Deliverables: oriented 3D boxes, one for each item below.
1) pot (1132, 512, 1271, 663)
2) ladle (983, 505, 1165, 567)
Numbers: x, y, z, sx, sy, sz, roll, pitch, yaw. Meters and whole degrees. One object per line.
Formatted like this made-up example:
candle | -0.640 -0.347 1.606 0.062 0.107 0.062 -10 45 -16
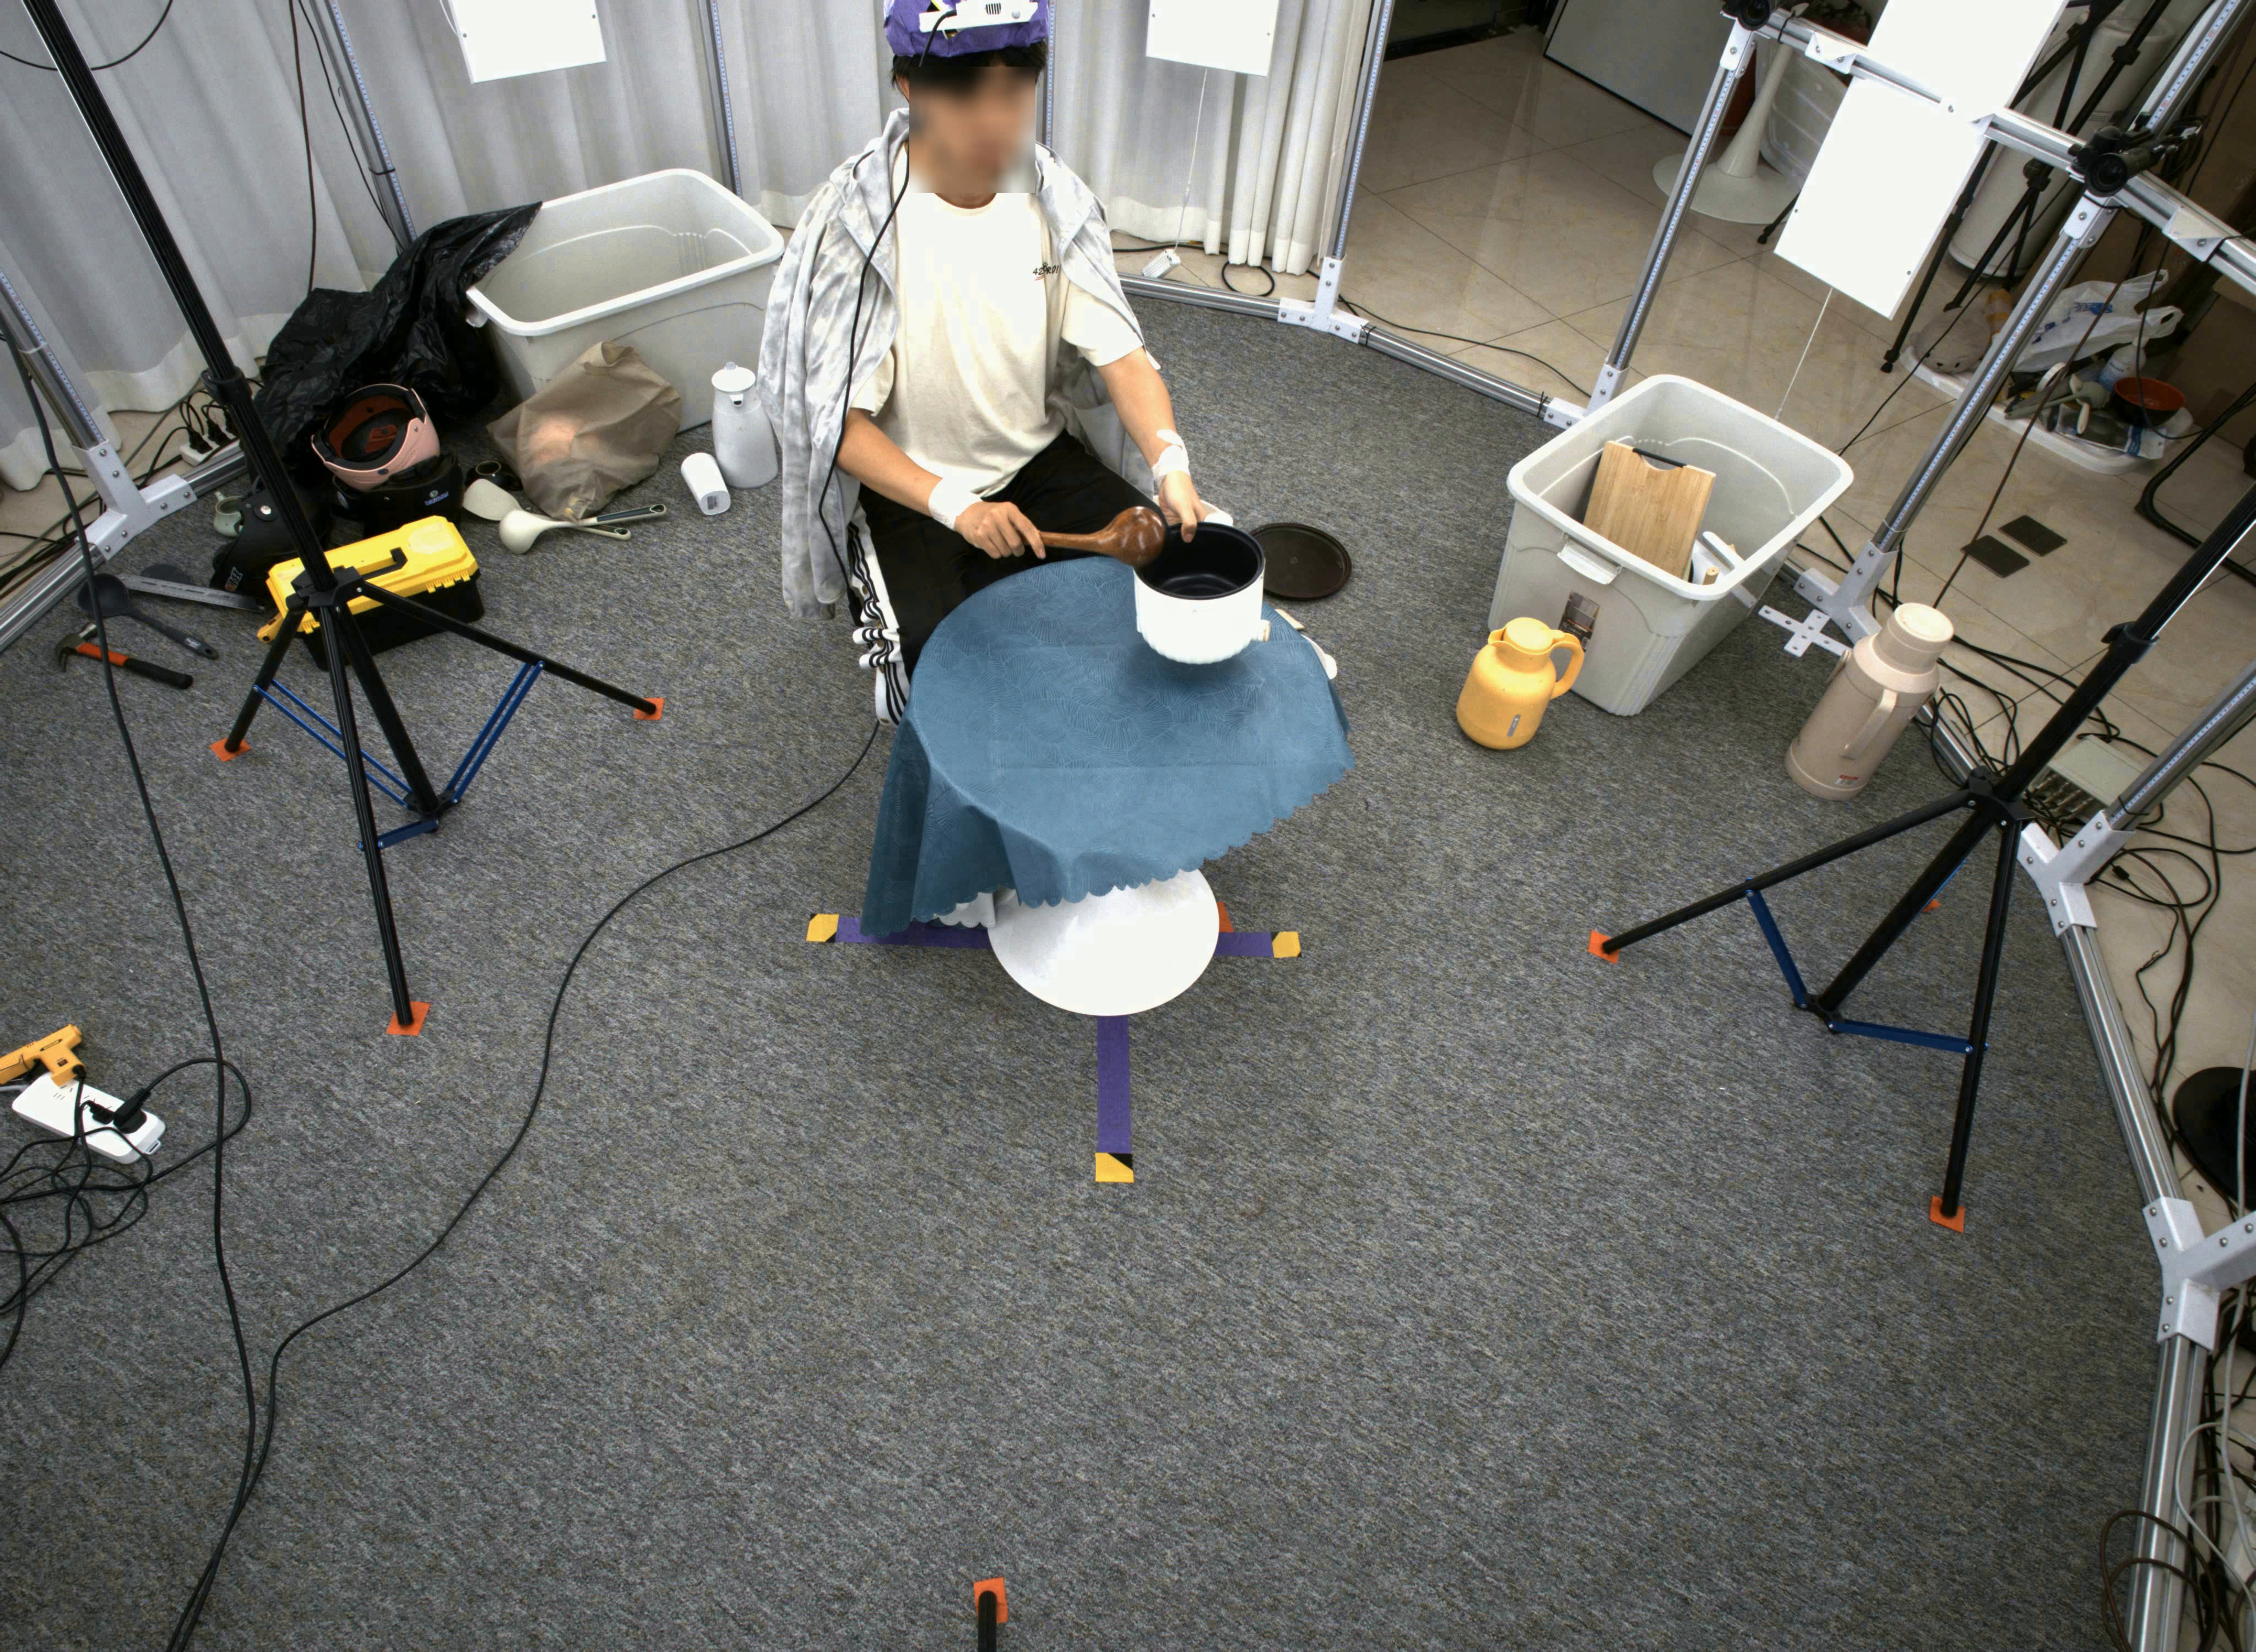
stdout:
pot | 0.105 -0.323 1.808 0.191 0.139 0.245 9 47 17
ladle | -0.075 -0.403 1.793 0.276 0.080 0.077 9 26 35
